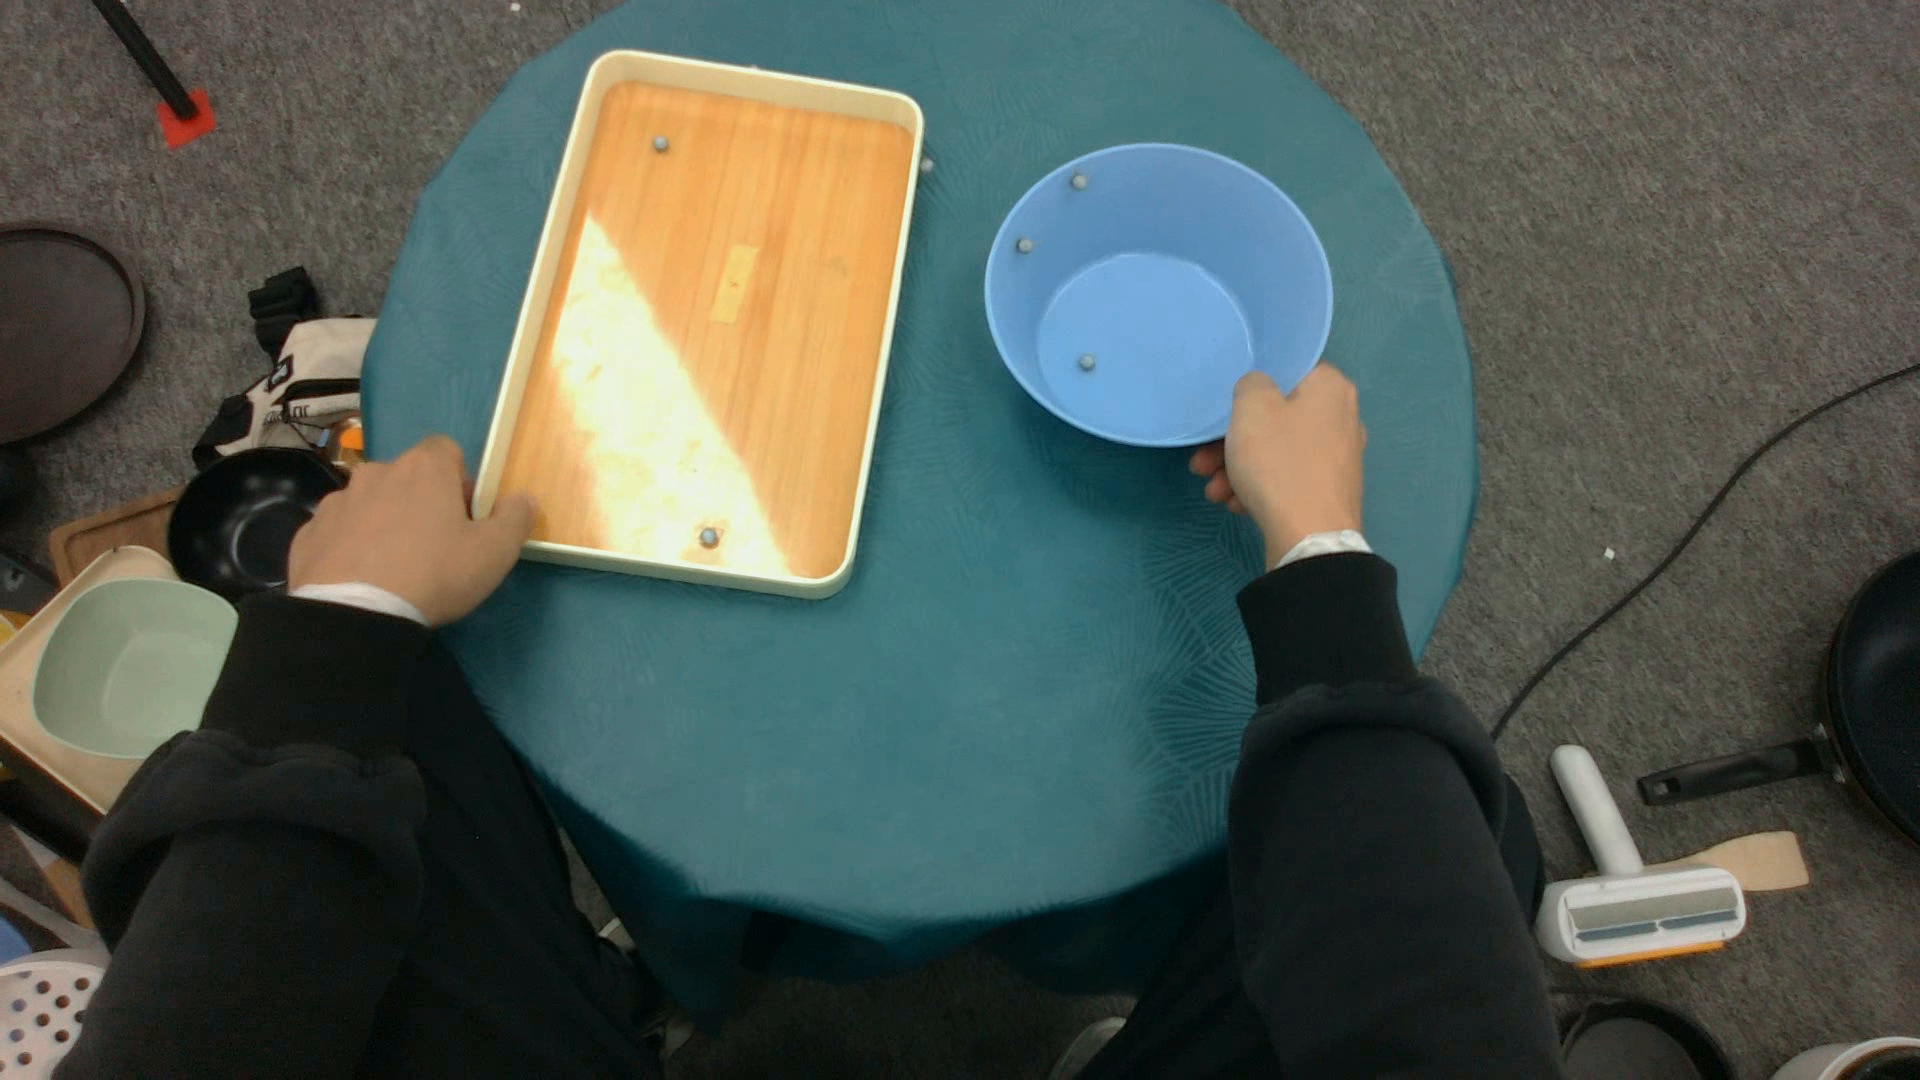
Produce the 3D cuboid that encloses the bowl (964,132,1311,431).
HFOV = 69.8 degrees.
[{"bbox_3d":[0.090,-0.124,0.727,0.176,0.070,0.176,0,67,1],"label":"bowl"}]

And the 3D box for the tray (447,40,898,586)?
[{"bbox_3d":[-0.144,-0.129,0.737,0.191,0.027,0.301,8,69,-2],"label":"tray"}]
